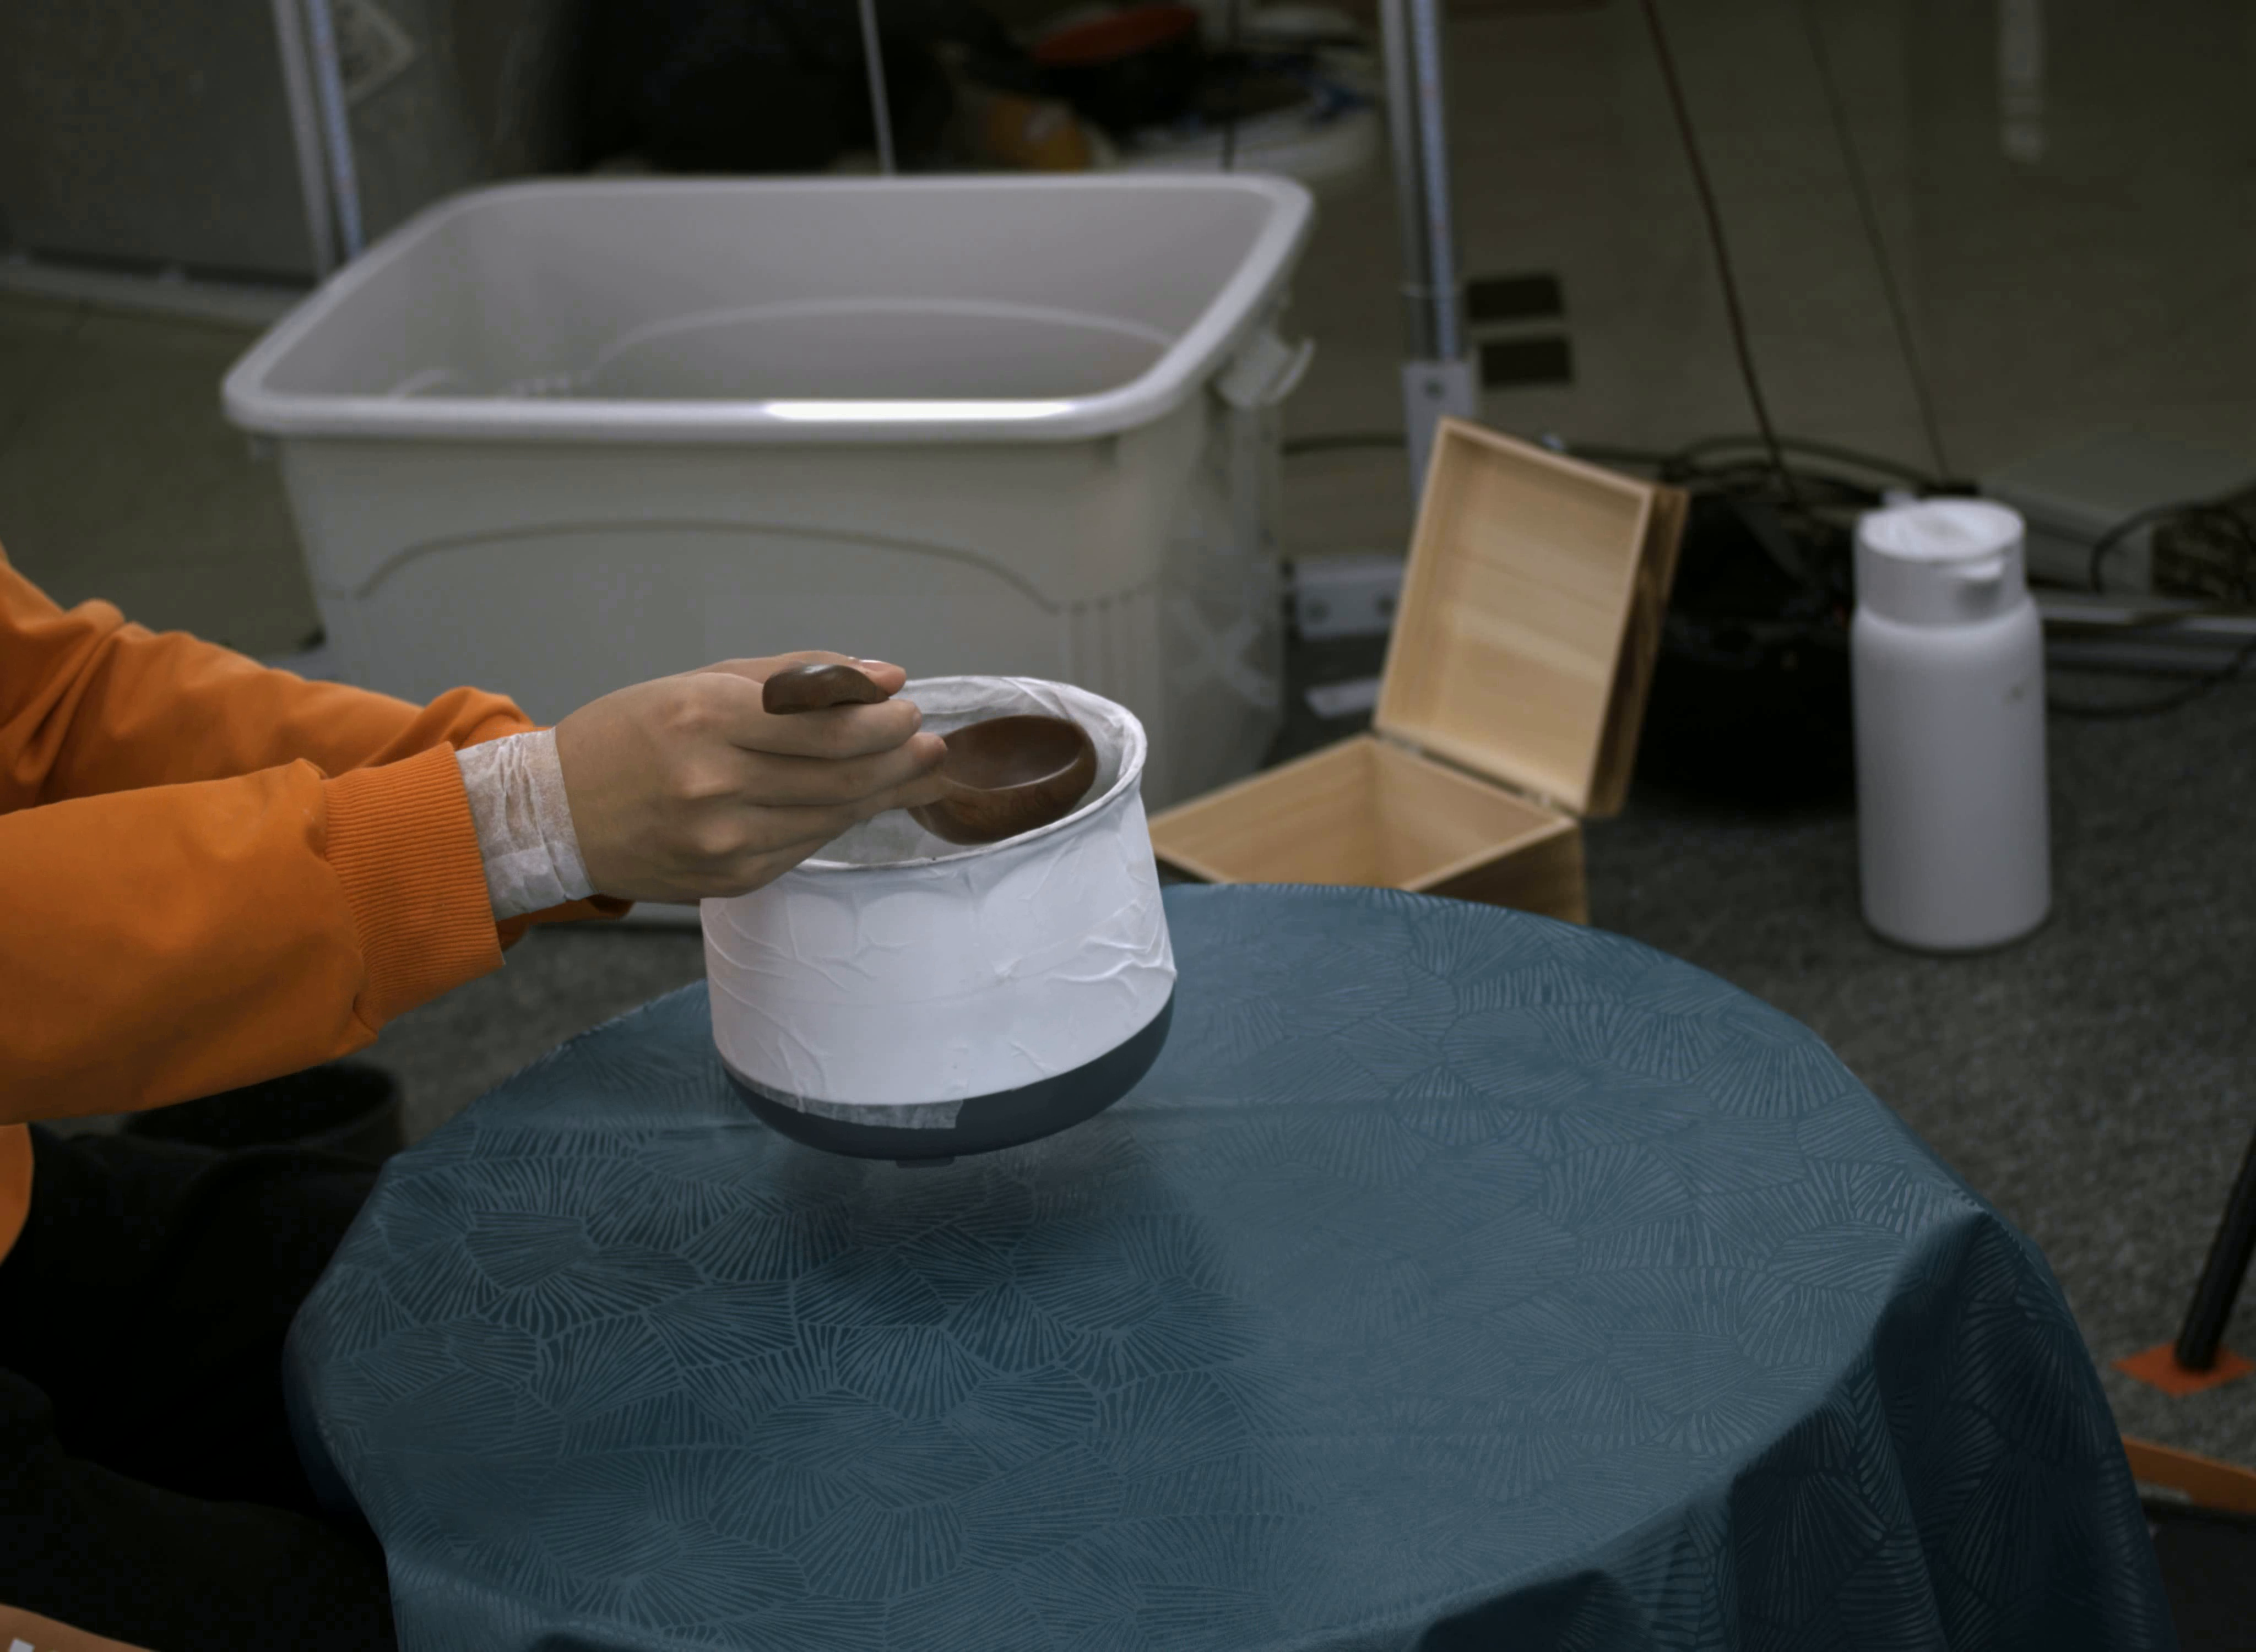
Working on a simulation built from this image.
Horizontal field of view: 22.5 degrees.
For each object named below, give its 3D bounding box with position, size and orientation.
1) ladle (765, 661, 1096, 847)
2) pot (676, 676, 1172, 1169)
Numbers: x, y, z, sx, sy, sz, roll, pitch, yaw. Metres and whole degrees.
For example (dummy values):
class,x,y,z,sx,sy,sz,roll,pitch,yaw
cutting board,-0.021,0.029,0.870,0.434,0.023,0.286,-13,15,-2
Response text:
class,x,y,z,sx,sy,sz,roll,pitch,yaw
ladle,-0.078,-0.041,2.018,0.076,0.064,0.262,-11,-17,15
pot,-0.092,0.030,2.153,0.177,0.139,0.231,-23,29,-33
